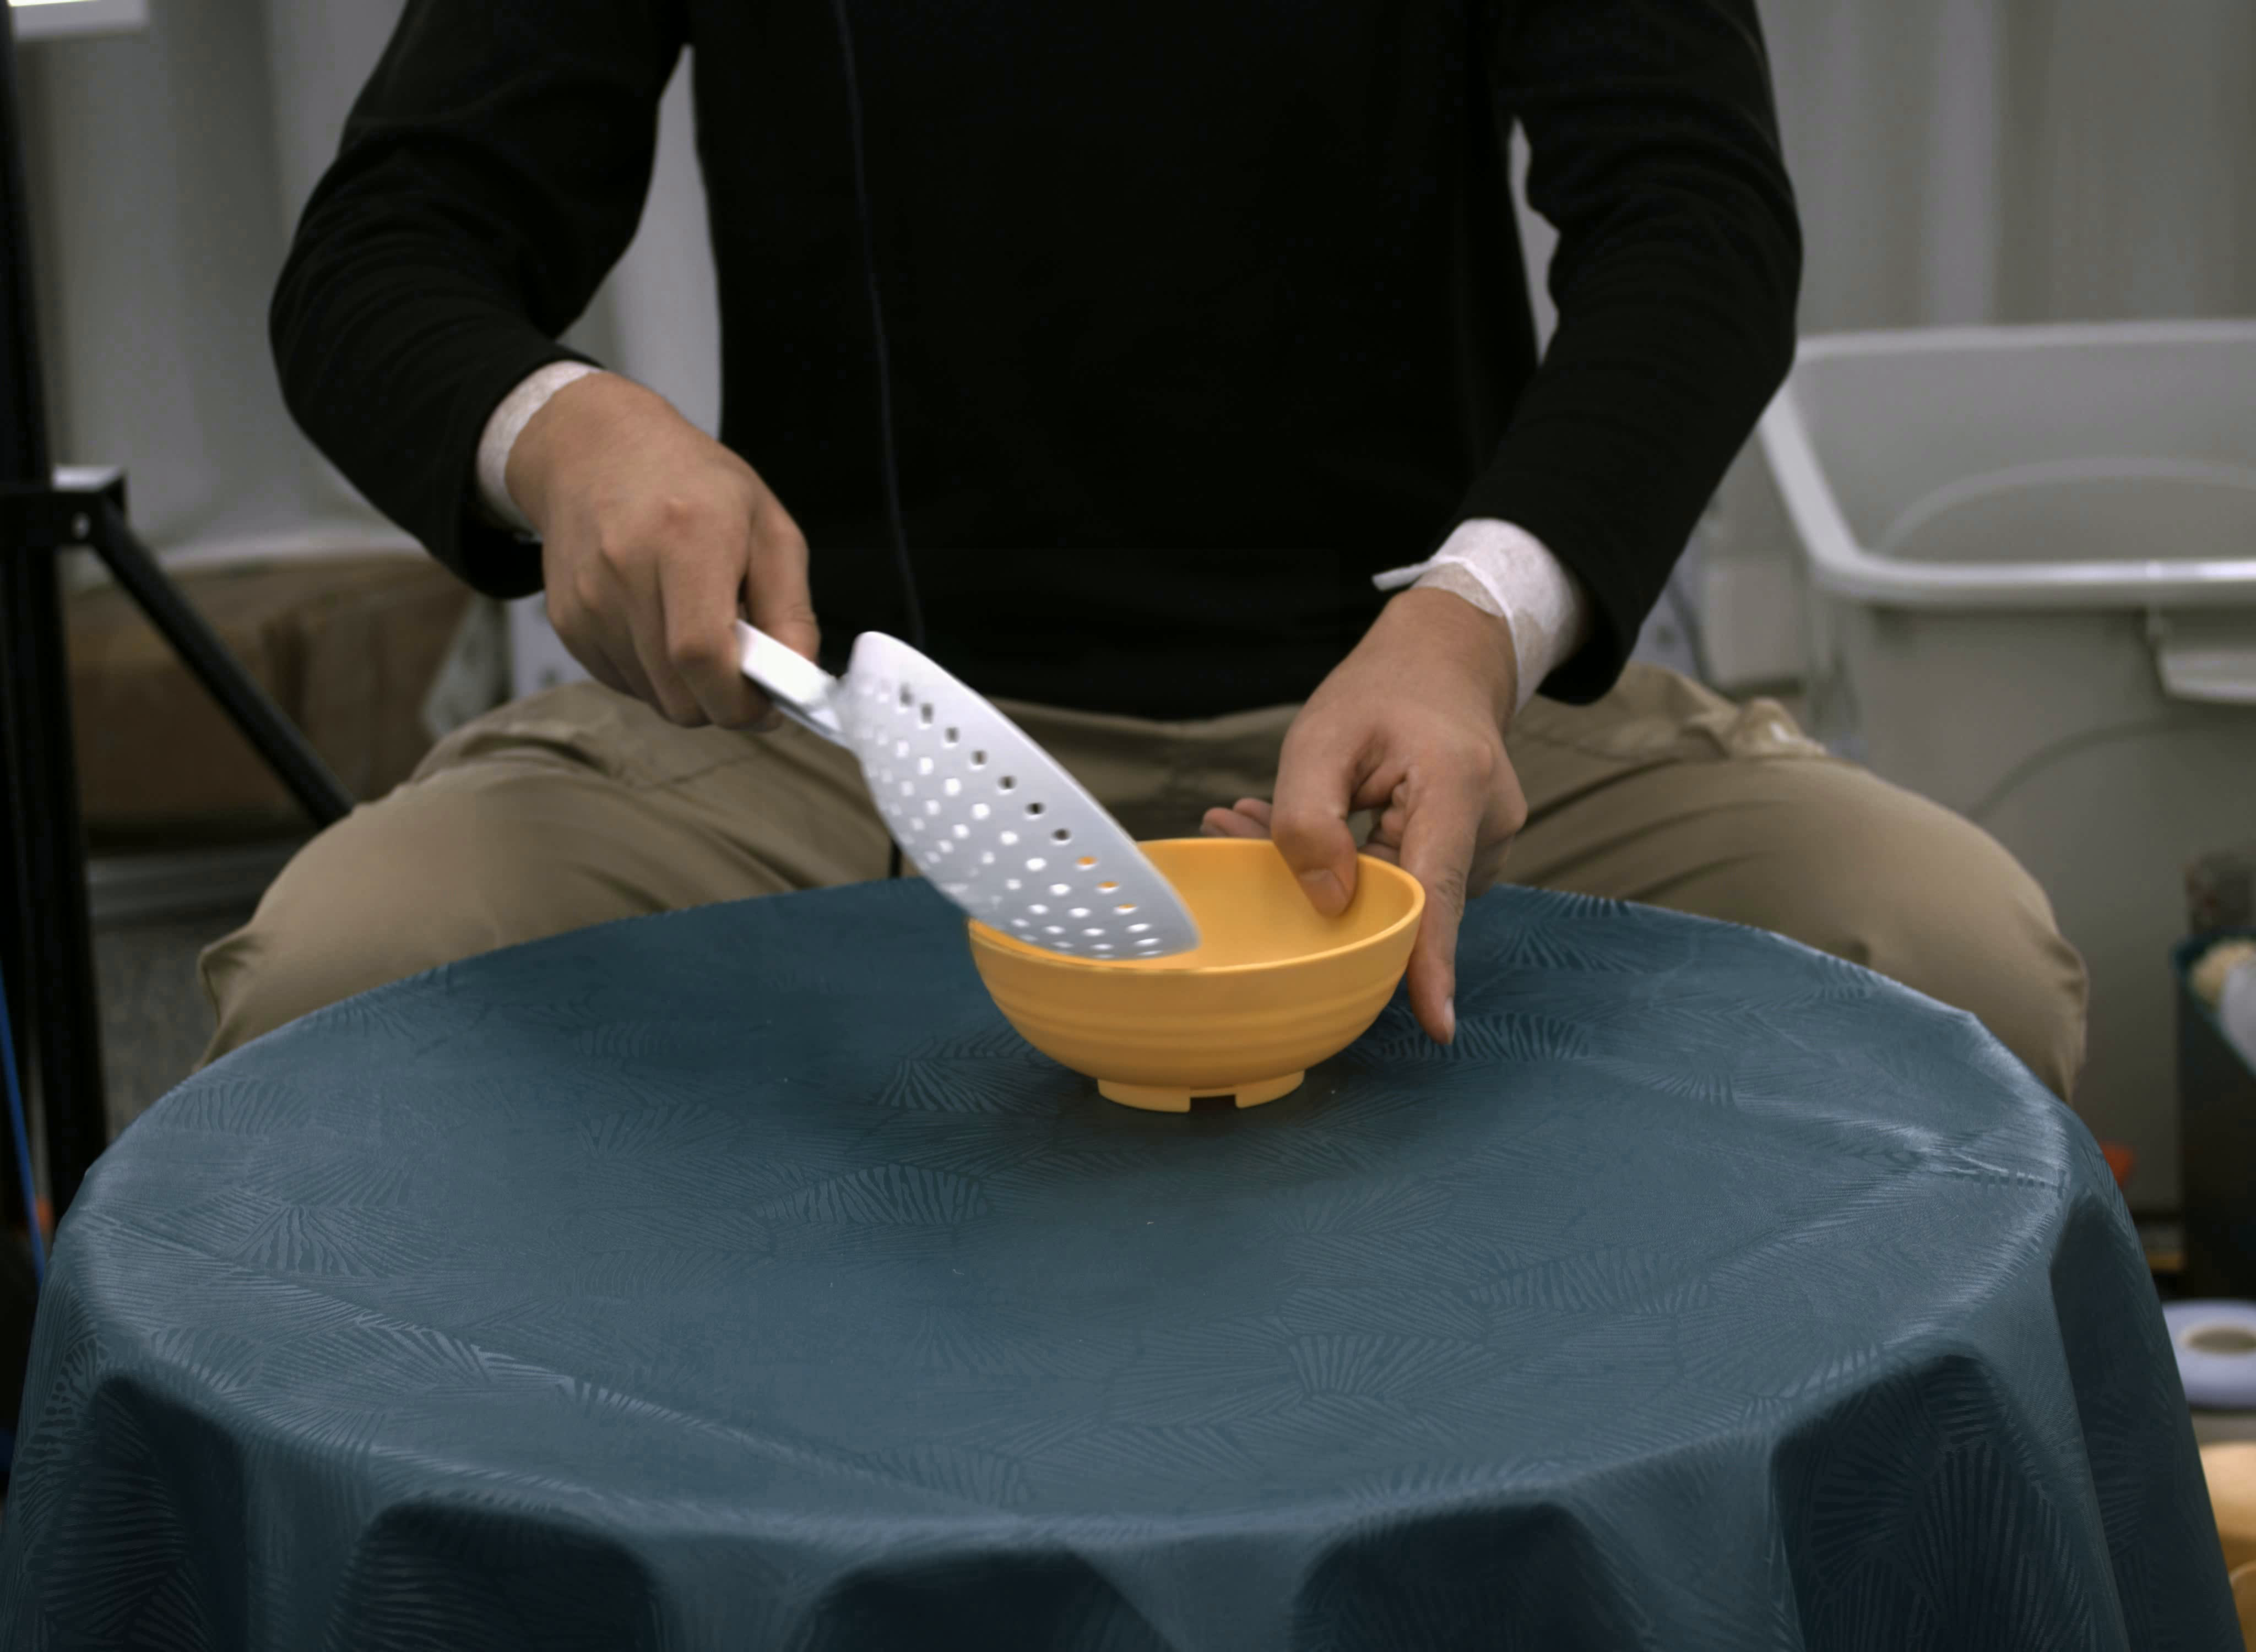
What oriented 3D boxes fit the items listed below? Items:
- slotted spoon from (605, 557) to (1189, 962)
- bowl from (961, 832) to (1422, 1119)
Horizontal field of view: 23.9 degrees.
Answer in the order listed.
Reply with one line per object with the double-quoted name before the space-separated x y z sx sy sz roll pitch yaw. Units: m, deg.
"slotted spoon" -0.087 -0.034 1.665 0.045 0.133 0.357 -43 30 -6
"bowl" 0.020 0.052 1.650 0.144 0.060 0.146 -1 18 -1
